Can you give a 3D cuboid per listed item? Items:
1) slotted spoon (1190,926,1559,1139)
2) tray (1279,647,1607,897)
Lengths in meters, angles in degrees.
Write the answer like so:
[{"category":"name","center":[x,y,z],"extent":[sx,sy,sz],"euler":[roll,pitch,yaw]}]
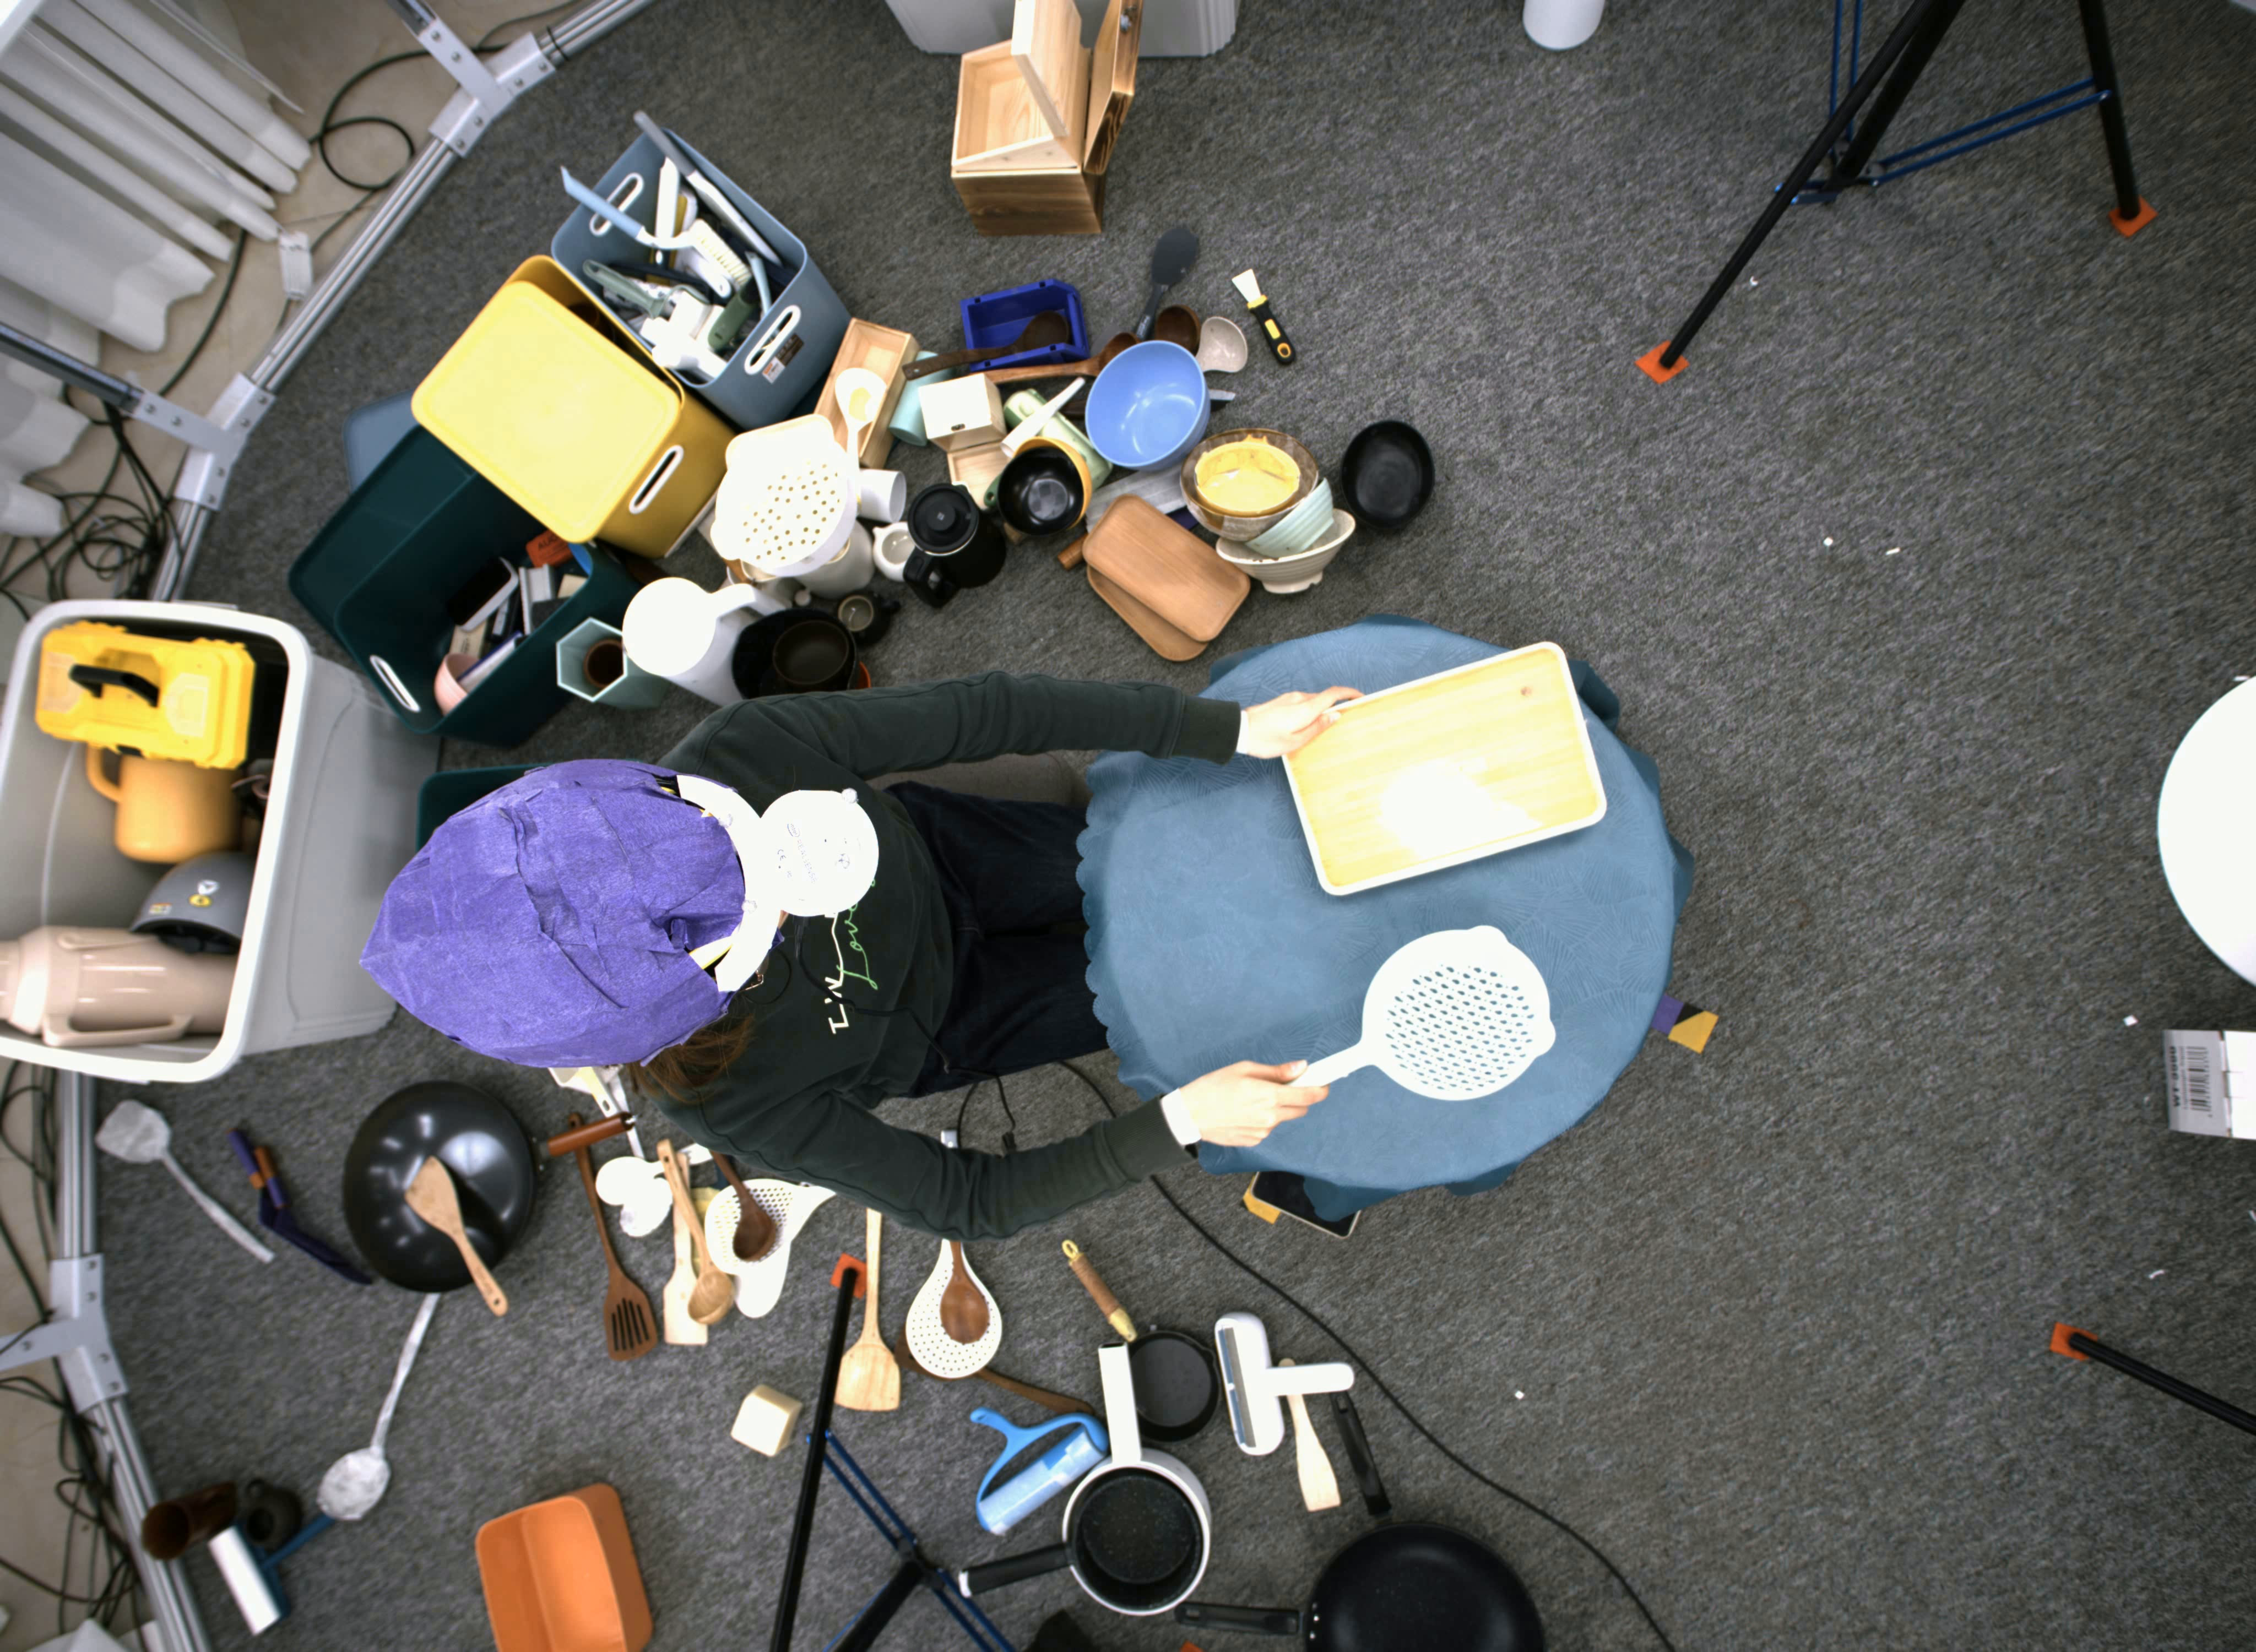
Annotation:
[{"category":"slotted spoon","center":[0.224,0.218,1.307],"extent":[0.359,0.077,0.165],"euler":[-19,54,1]},{"category":"tray","center":[0.322,-0.056,1.415],"extent":[0.302,0.027,0.192],"euler":[-16,96,11]}]
